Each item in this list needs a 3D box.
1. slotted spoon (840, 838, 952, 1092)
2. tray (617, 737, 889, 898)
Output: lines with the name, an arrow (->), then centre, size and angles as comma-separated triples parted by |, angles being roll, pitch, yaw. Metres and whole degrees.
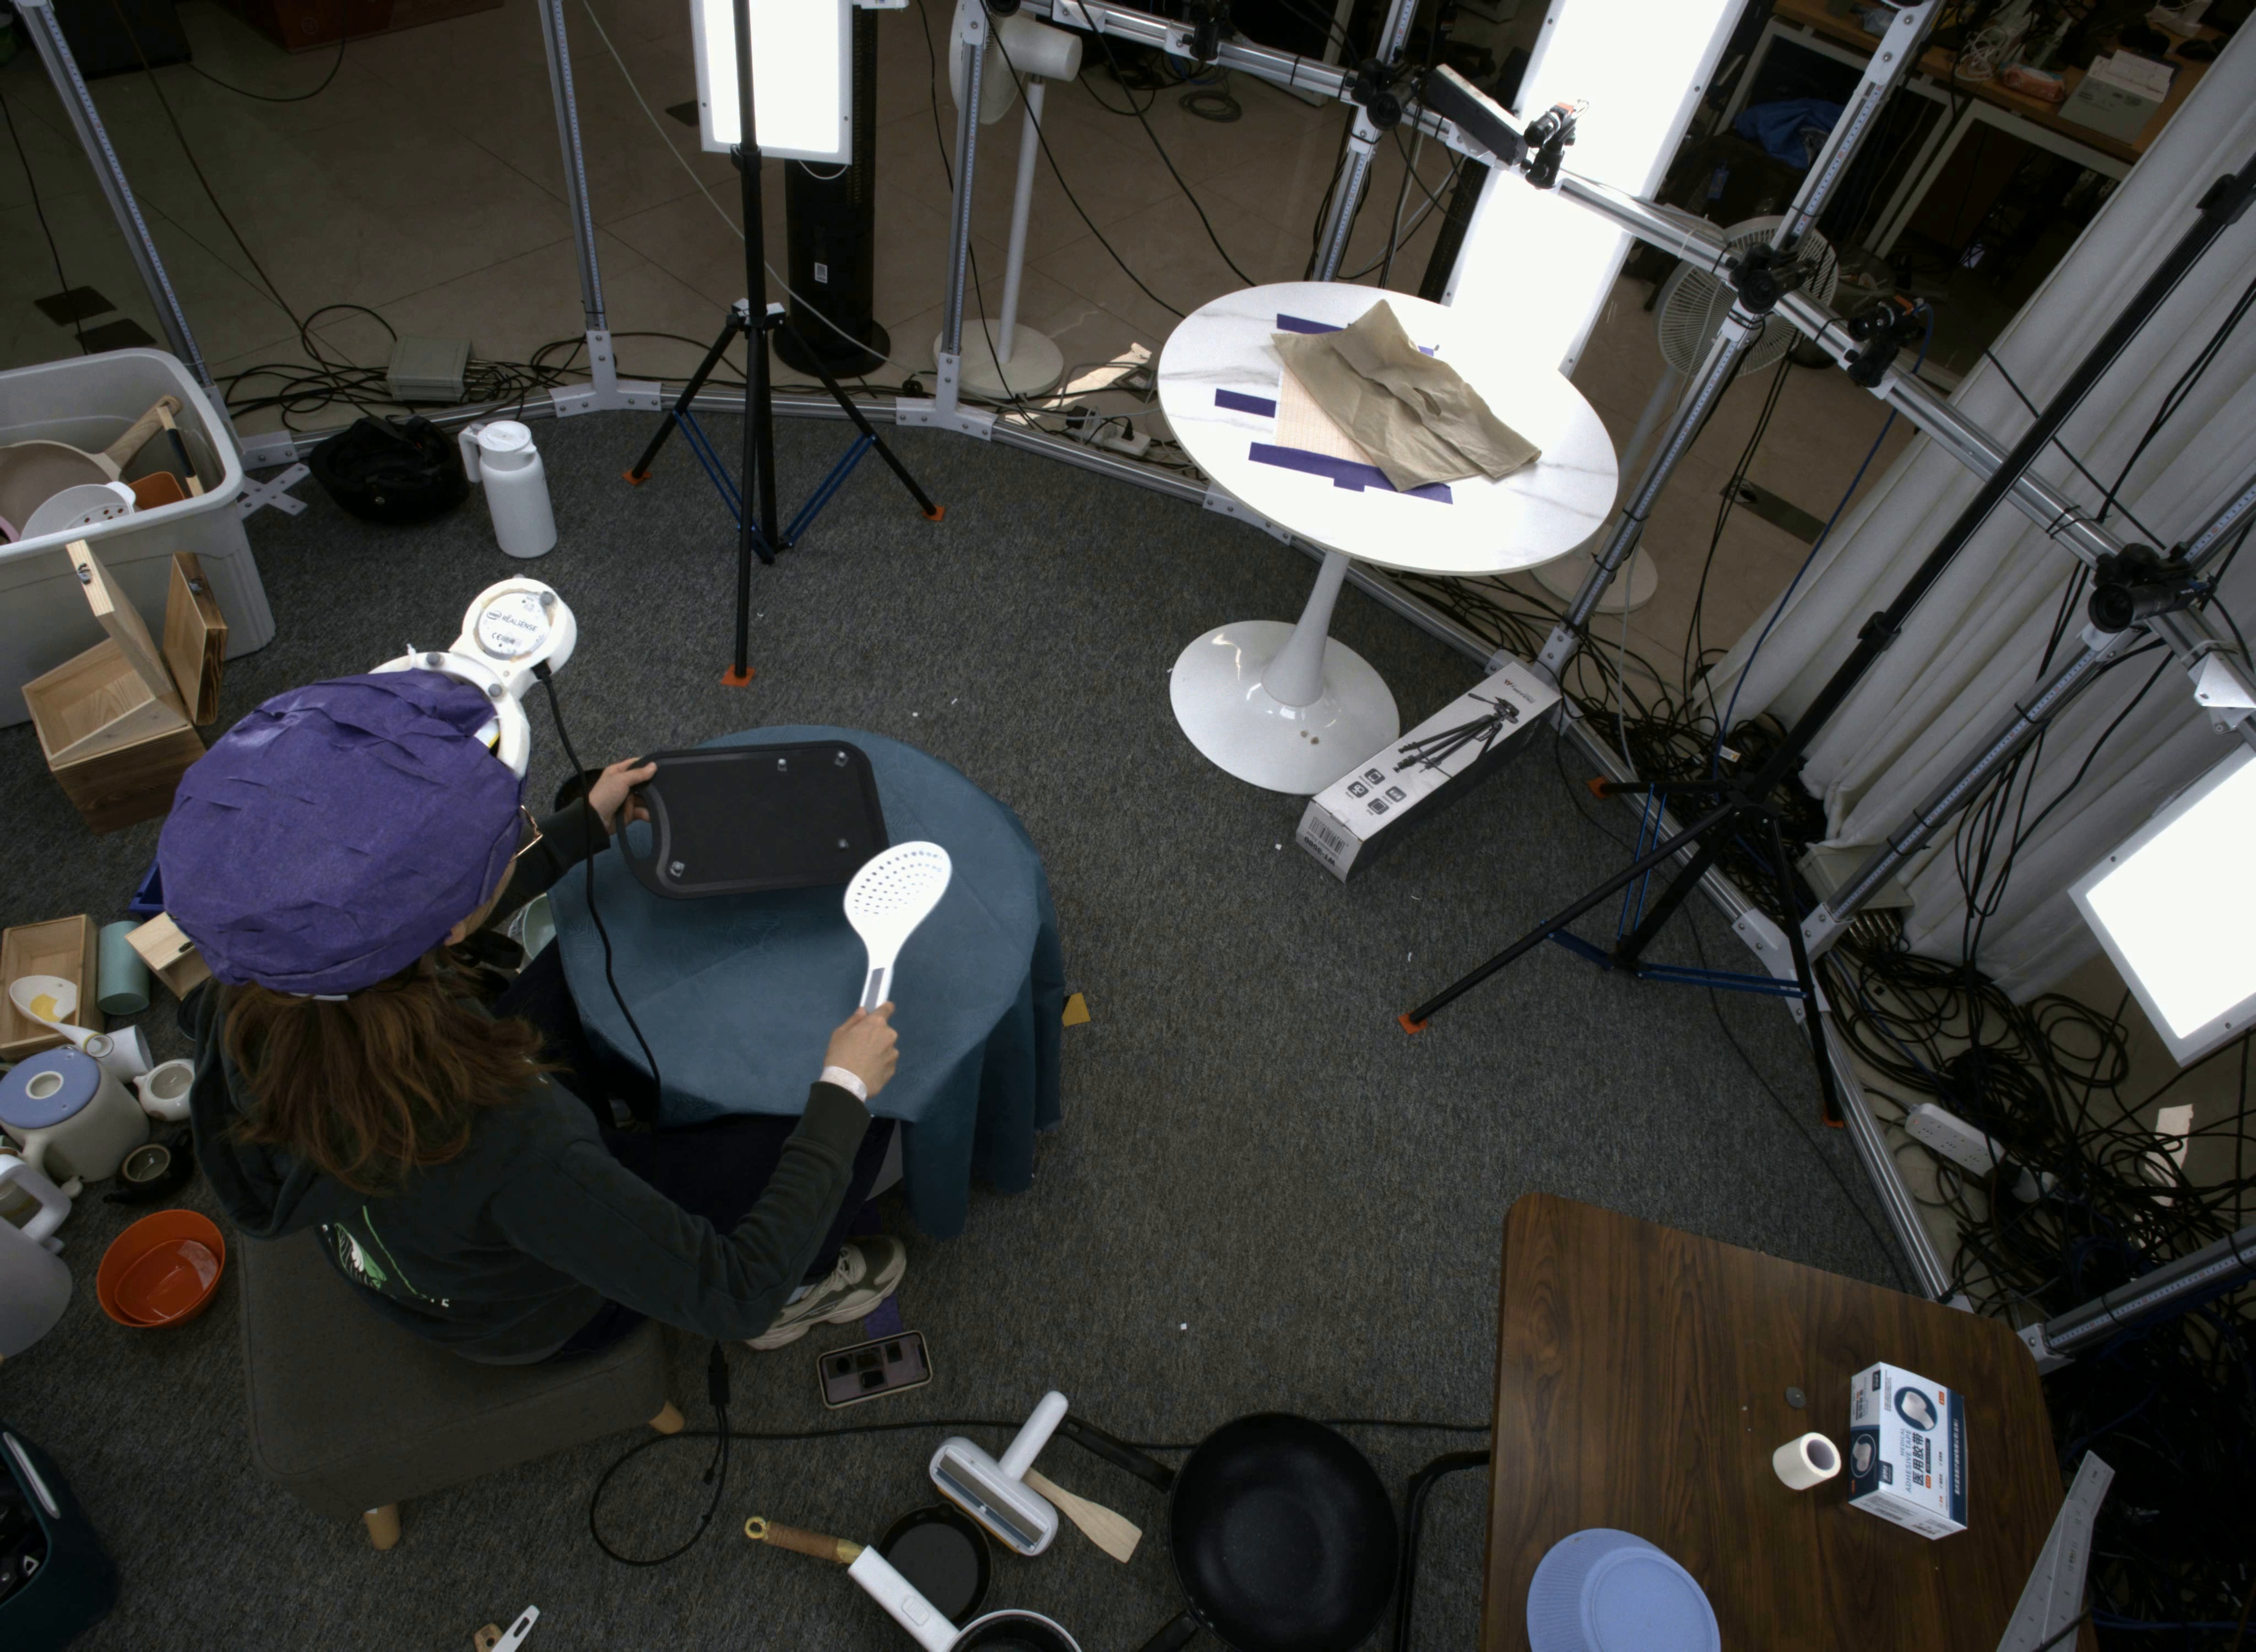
slotted spoon -> -0.271, 0.145, 1.453 | 0.133, 0.047, 0.343 | -12, 39, 17
tray -> -0.466, -0.017, 1.605 | 0.328, 0.010, 0.208 | -5, 65, -27
